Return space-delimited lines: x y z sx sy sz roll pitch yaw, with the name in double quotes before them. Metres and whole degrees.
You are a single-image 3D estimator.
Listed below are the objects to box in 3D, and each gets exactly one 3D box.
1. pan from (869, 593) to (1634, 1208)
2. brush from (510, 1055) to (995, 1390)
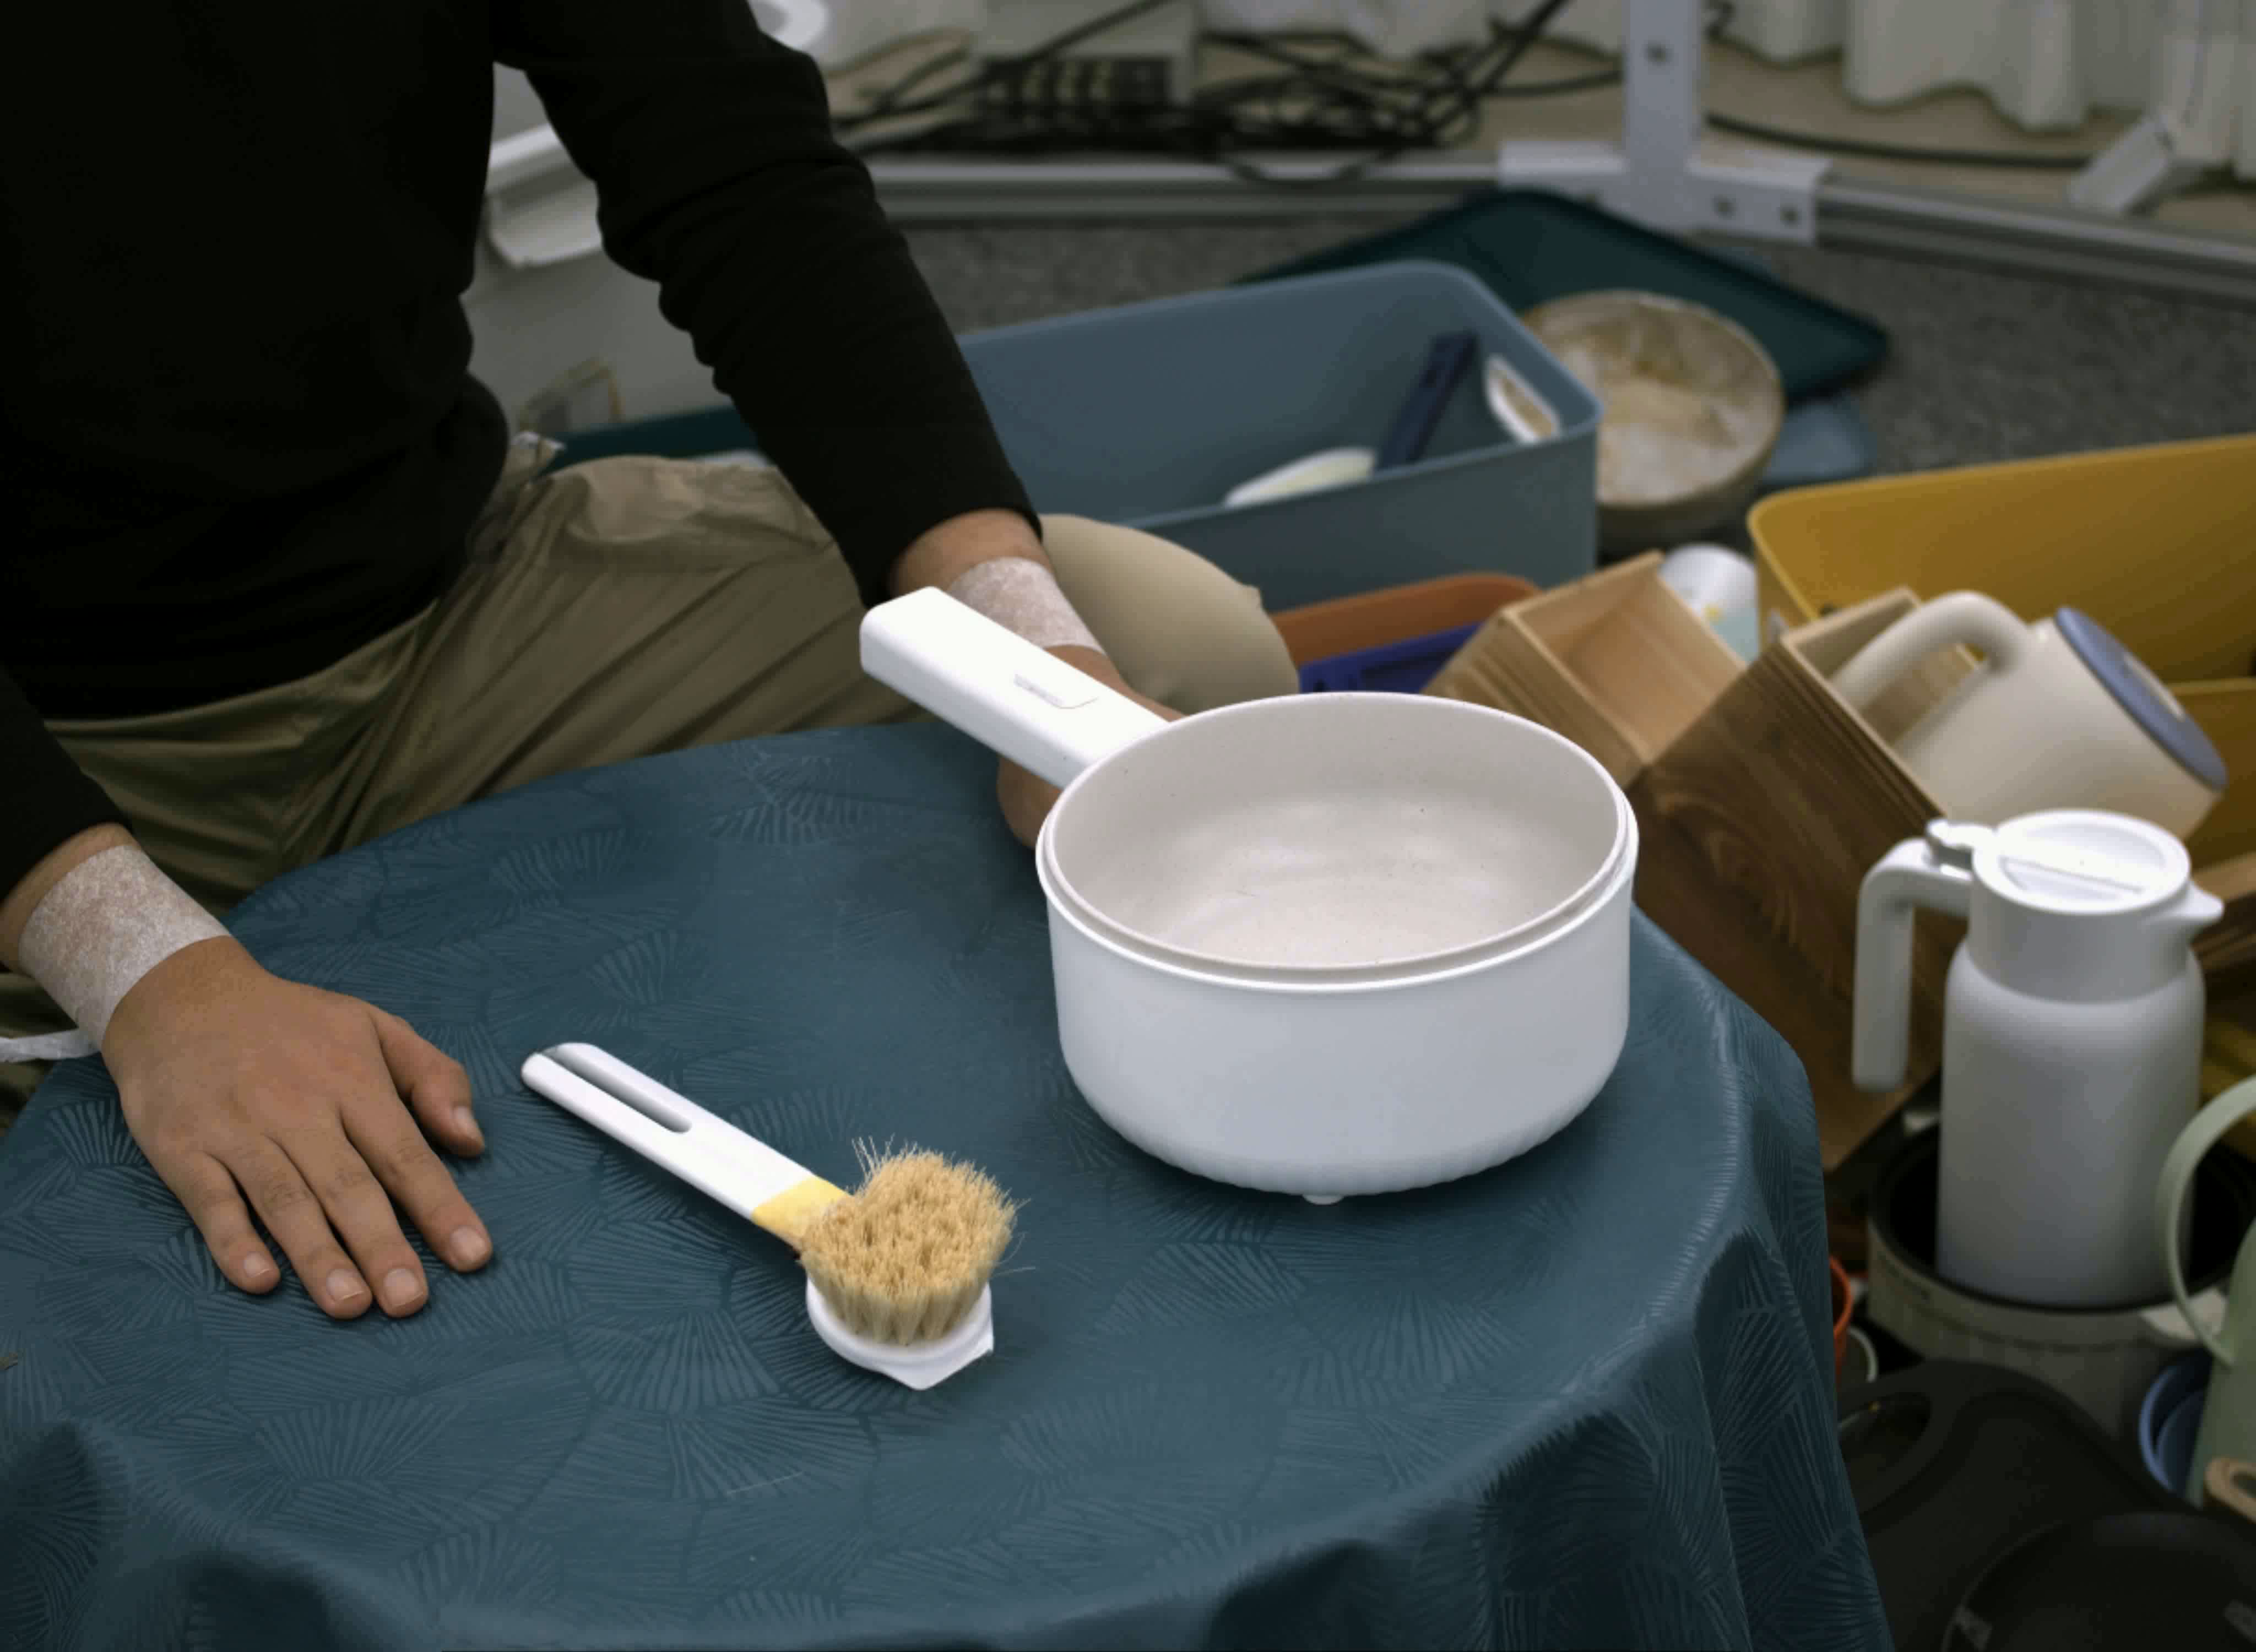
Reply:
"pan" 0.025 0.019 1.953 0.203 0.101 0.355 -22 32 -31
"brush" -0.134 0.107 1.845 0.069 0.055 0.267 -15 28 -31
